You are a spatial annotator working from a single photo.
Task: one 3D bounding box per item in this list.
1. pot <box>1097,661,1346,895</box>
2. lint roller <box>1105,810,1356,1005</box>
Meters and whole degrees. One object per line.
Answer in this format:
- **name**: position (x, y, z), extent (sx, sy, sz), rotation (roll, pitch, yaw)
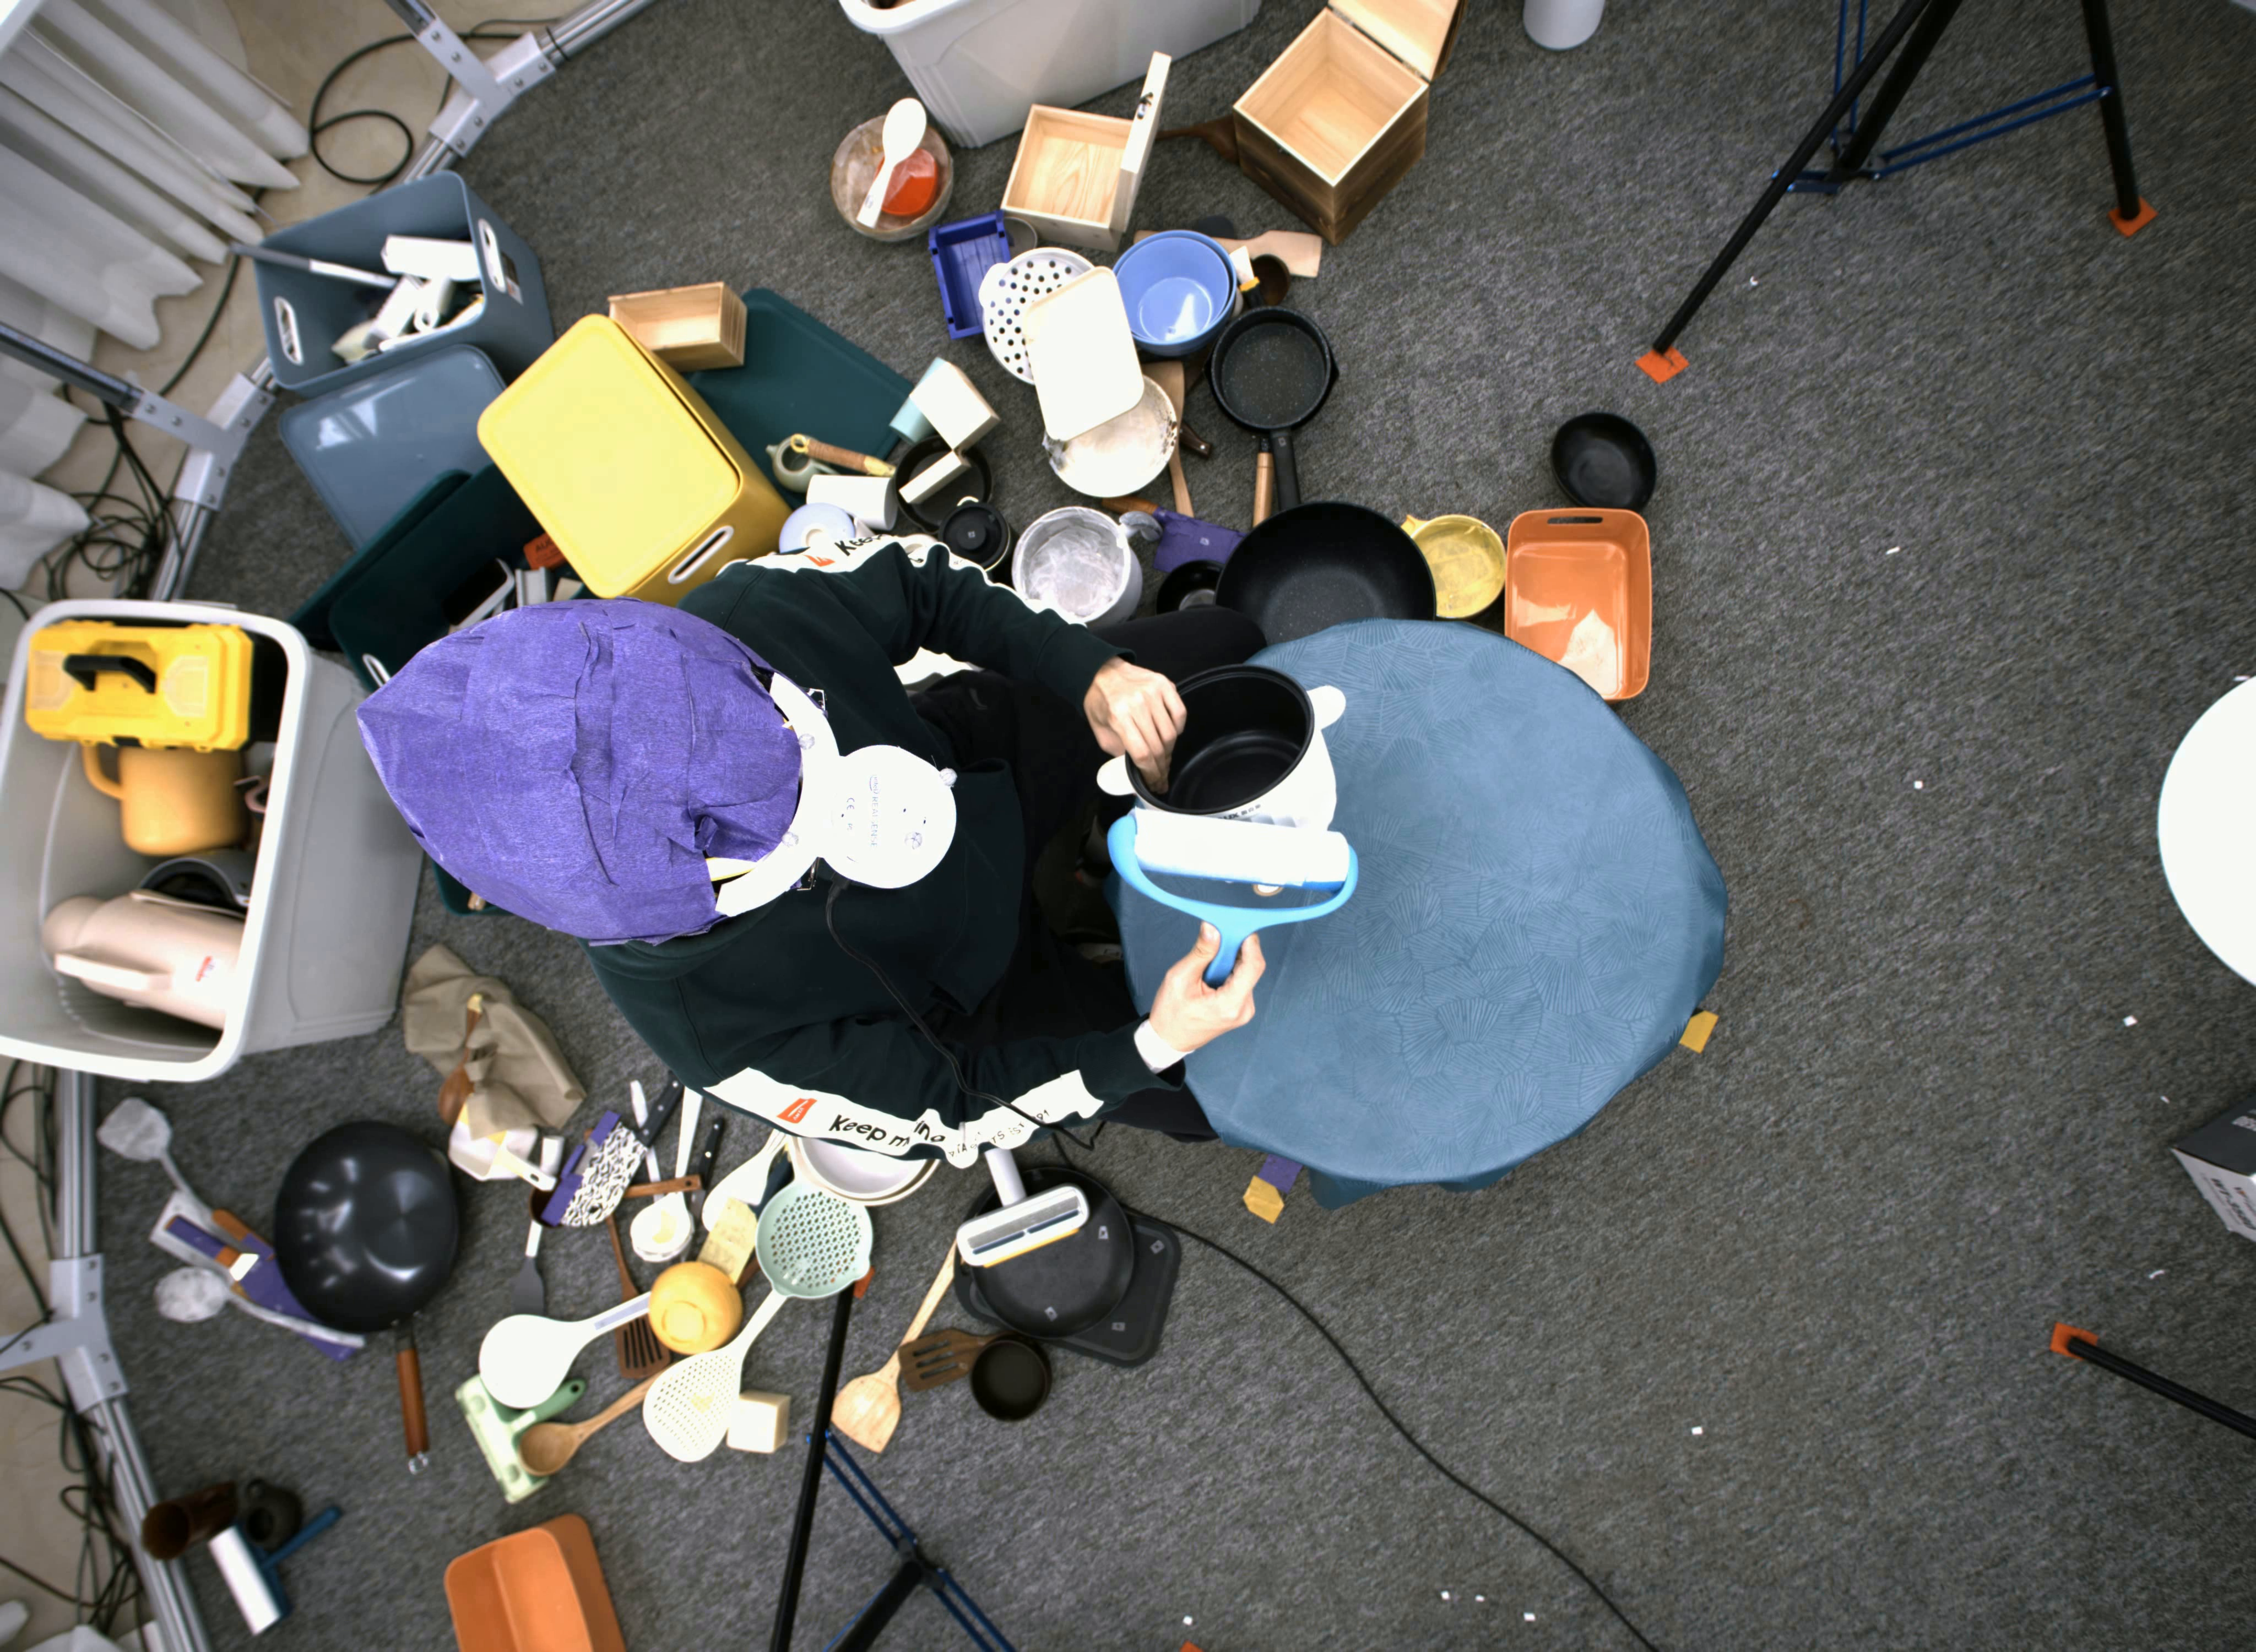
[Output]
- **pot**: position (0.106, -0.039, 1.299), extent (0.242, 0.145, 0.185), rotation (-20, 44, 11)
- **lint roller**: position (0.086, 0.078, 1.207), extent (0.228, 0.067, 0.182), rotation (1, 103, -17)
